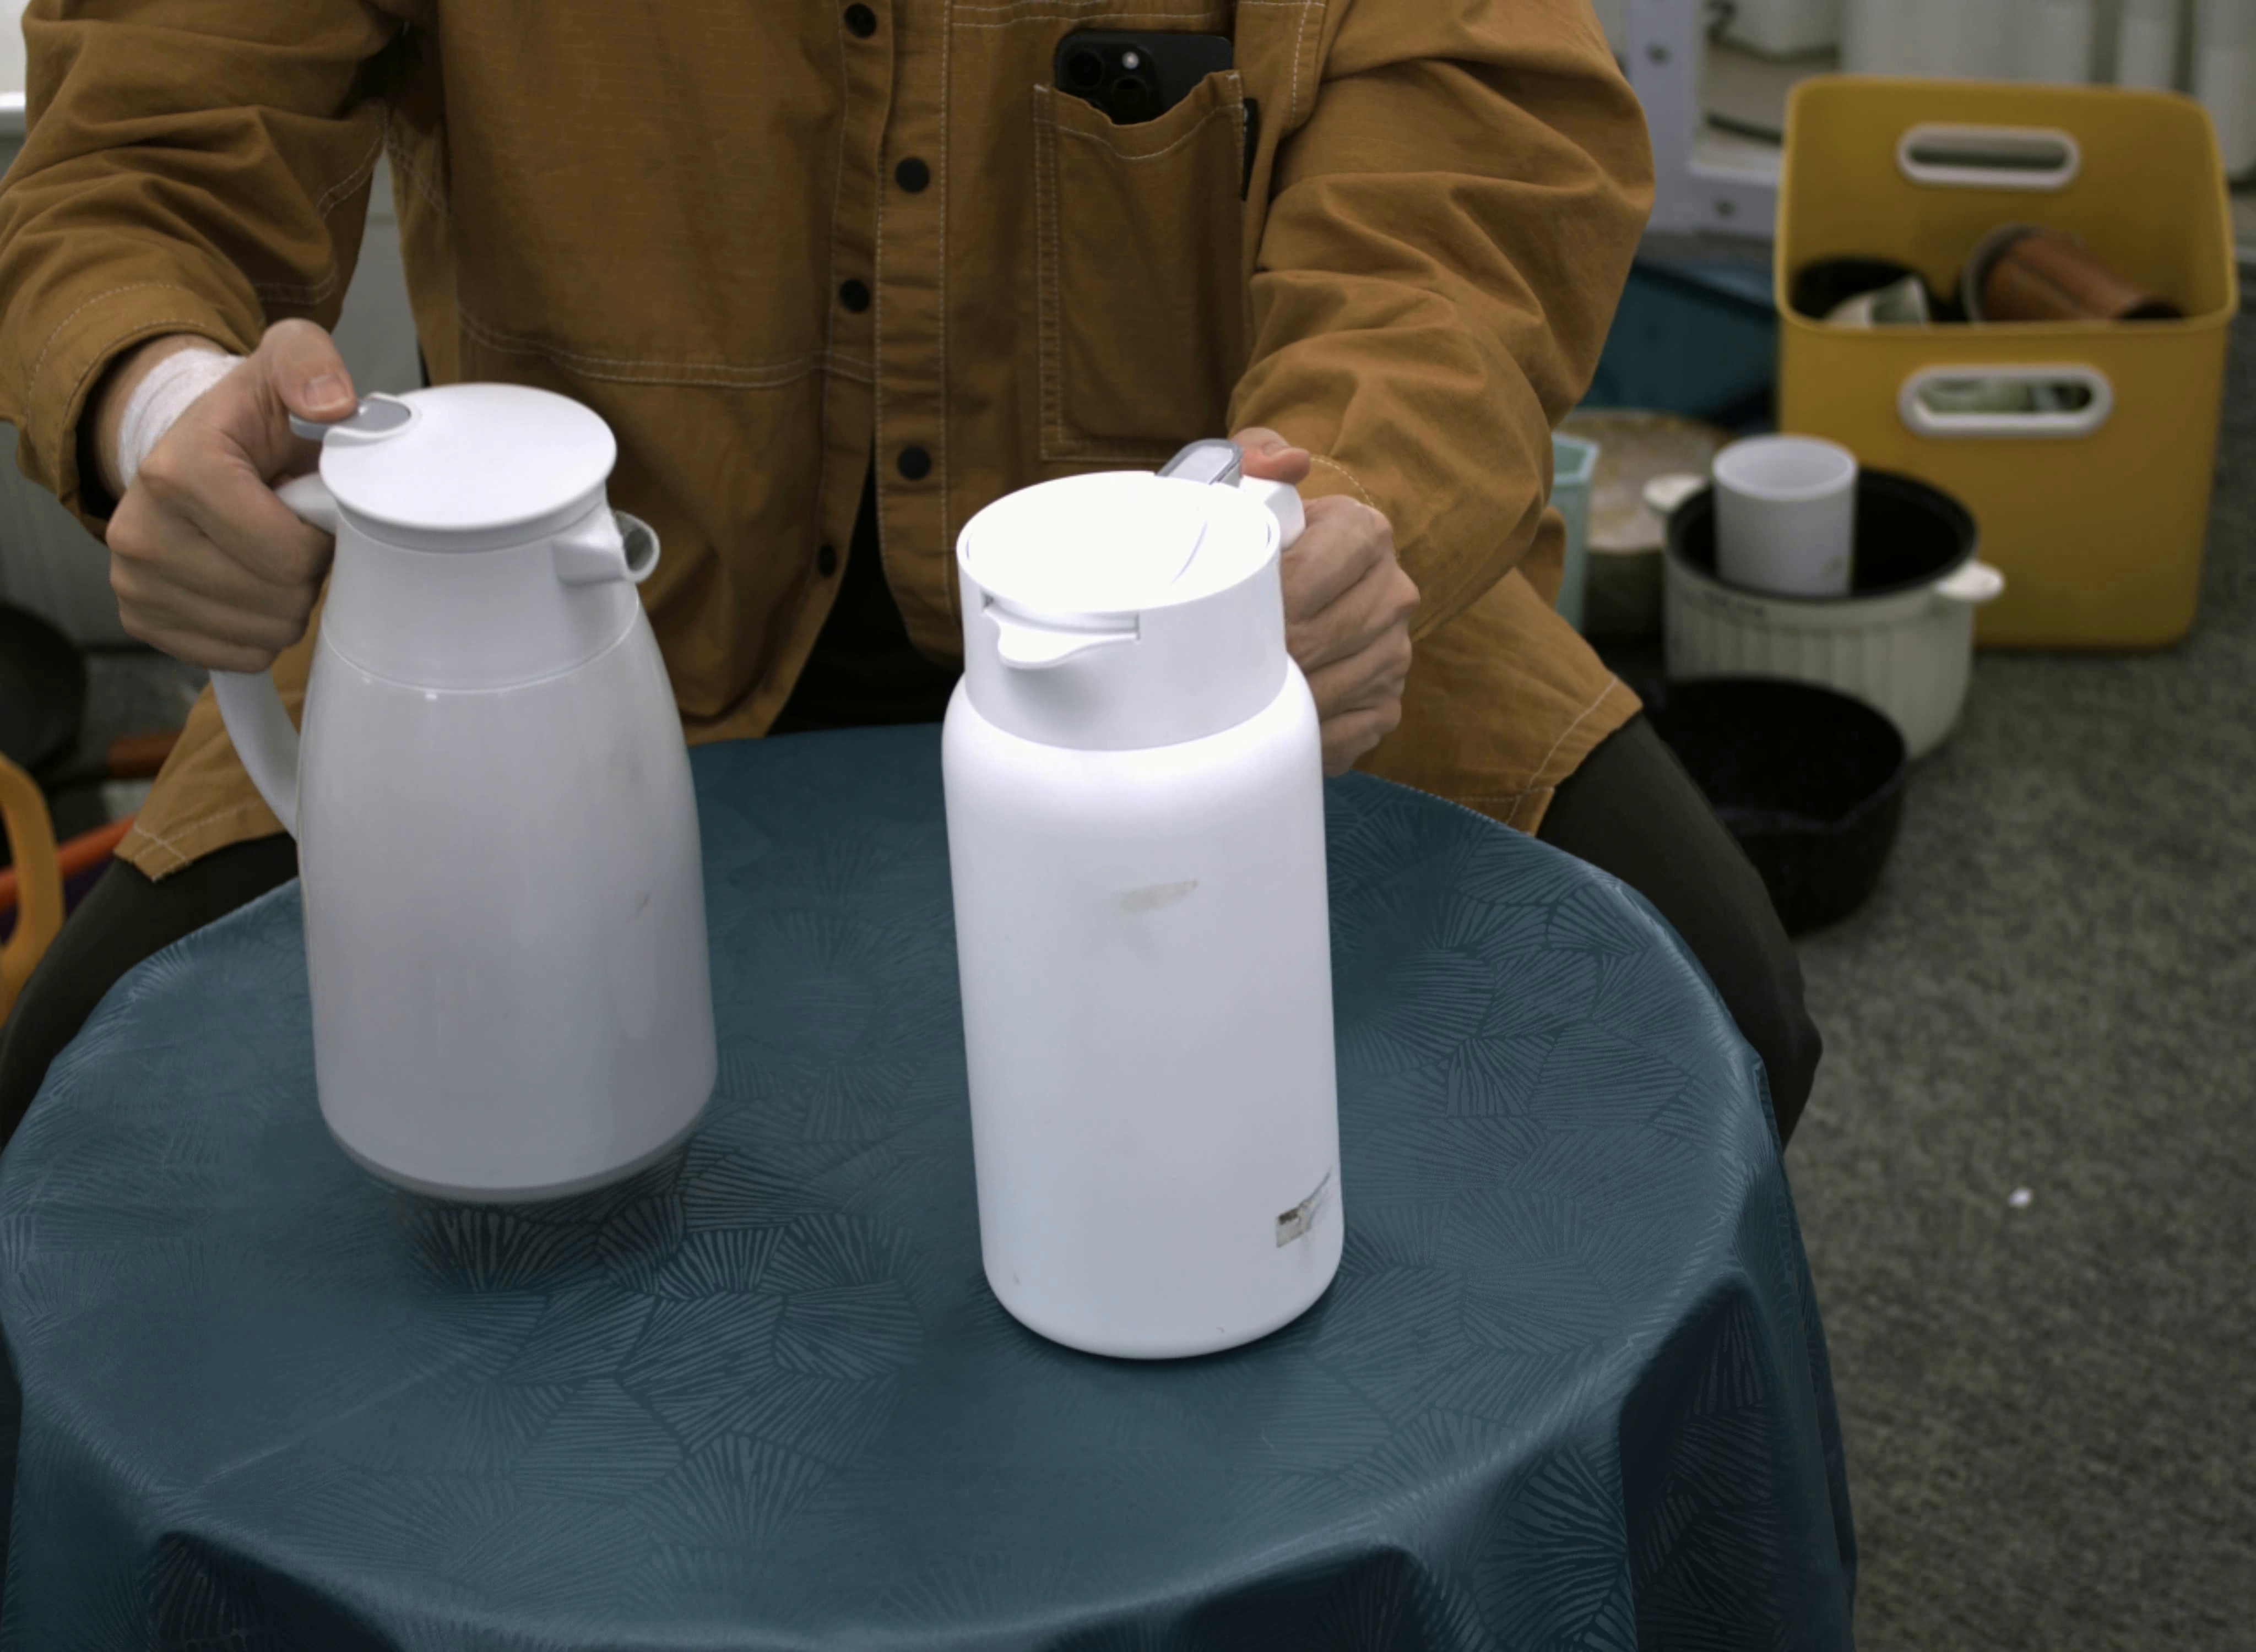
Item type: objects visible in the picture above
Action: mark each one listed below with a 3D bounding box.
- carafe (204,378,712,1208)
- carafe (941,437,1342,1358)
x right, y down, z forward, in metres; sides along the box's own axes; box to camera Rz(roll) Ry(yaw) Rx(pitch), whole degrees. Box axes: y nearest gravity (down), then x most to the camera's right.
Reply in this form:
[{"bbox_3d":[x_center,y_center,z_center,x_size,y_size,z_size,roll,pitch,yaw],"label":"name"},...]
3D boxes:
[{"bbox_3d":[-0.220,-0.021,1.799,0.167,0.245,0.135,14,33,24],"label":"carafe"},{"bbox_3d":[0.010,0.019,1.769,0.123,0.266,0.176,7,28,24],"label":"carafe"}]
